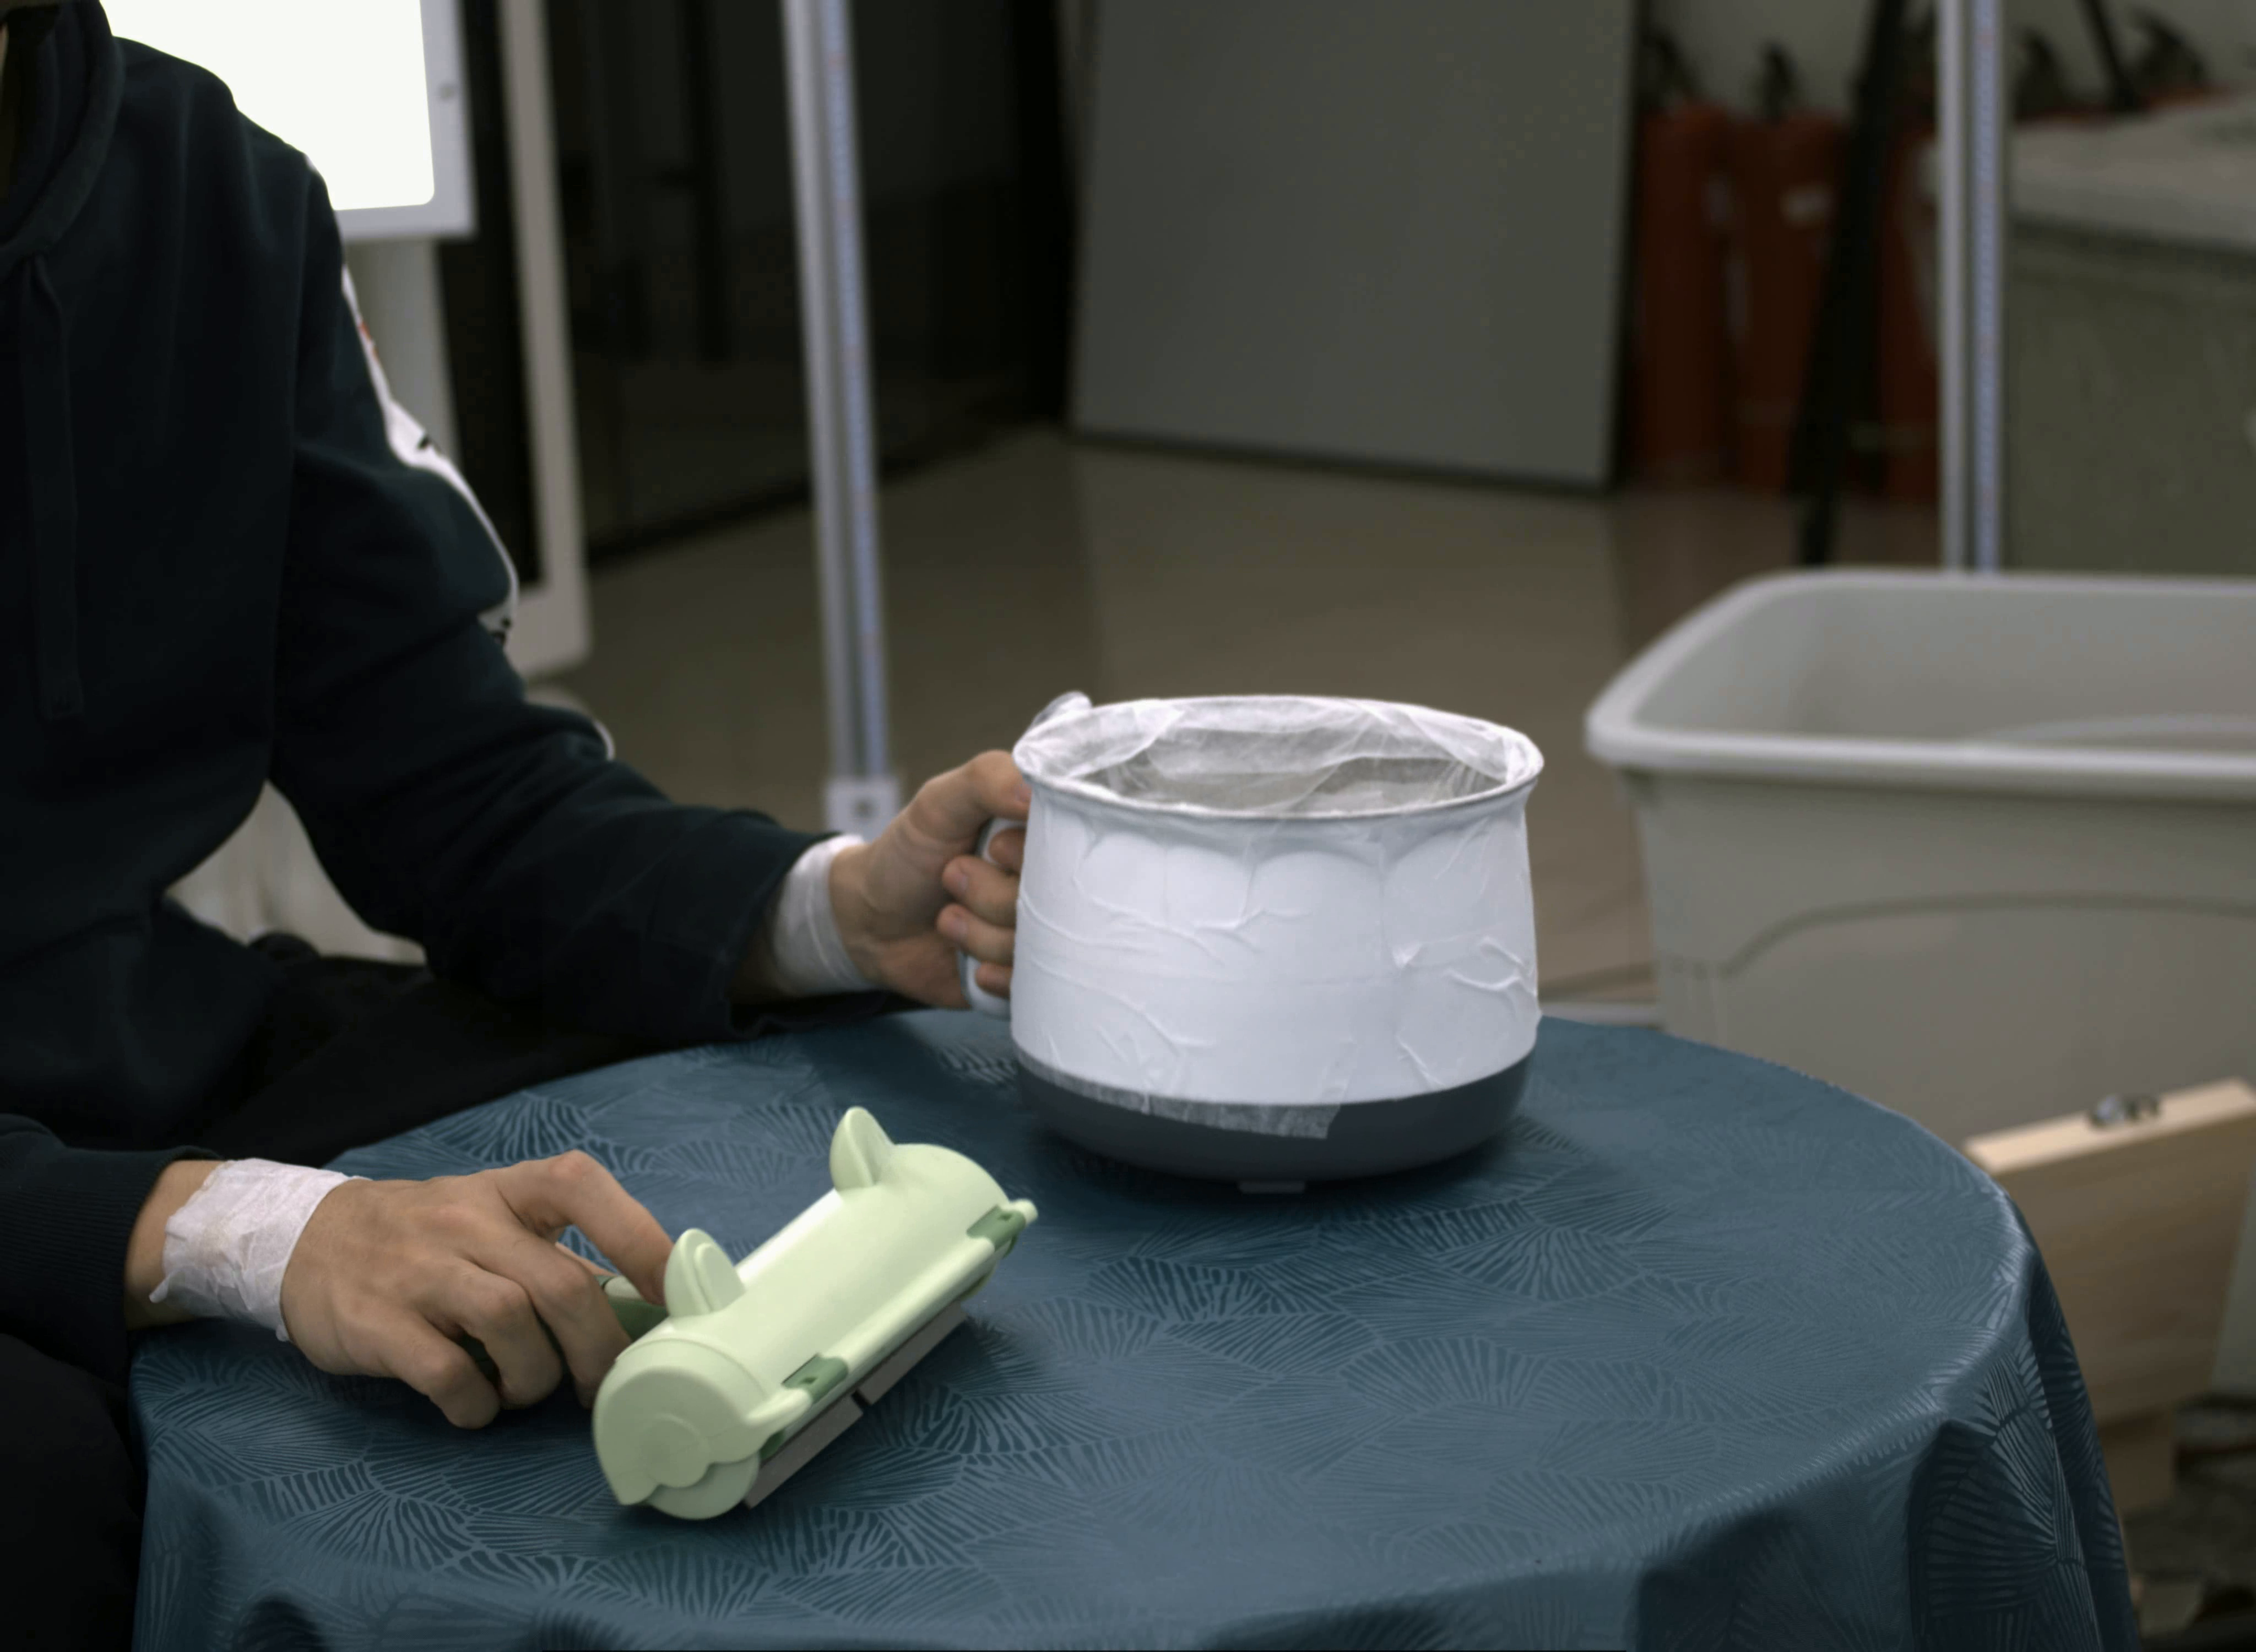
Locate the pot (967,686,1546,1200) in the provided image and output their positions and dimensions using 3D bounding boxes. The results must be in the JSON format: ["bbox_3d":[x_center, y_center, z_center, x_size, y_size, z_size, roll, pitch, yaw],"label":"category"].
[{"bbox_3d":[0.031,0.033,1.811,0.175,0.138,0.236,-12,18,-42],"label":"pot"}]

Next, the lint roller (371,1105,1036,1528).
[{"bbox_3d":[-0.144,0.134,1.597,0.183,0.083,0.196,6,17,22],"label":"lint roller"}]
